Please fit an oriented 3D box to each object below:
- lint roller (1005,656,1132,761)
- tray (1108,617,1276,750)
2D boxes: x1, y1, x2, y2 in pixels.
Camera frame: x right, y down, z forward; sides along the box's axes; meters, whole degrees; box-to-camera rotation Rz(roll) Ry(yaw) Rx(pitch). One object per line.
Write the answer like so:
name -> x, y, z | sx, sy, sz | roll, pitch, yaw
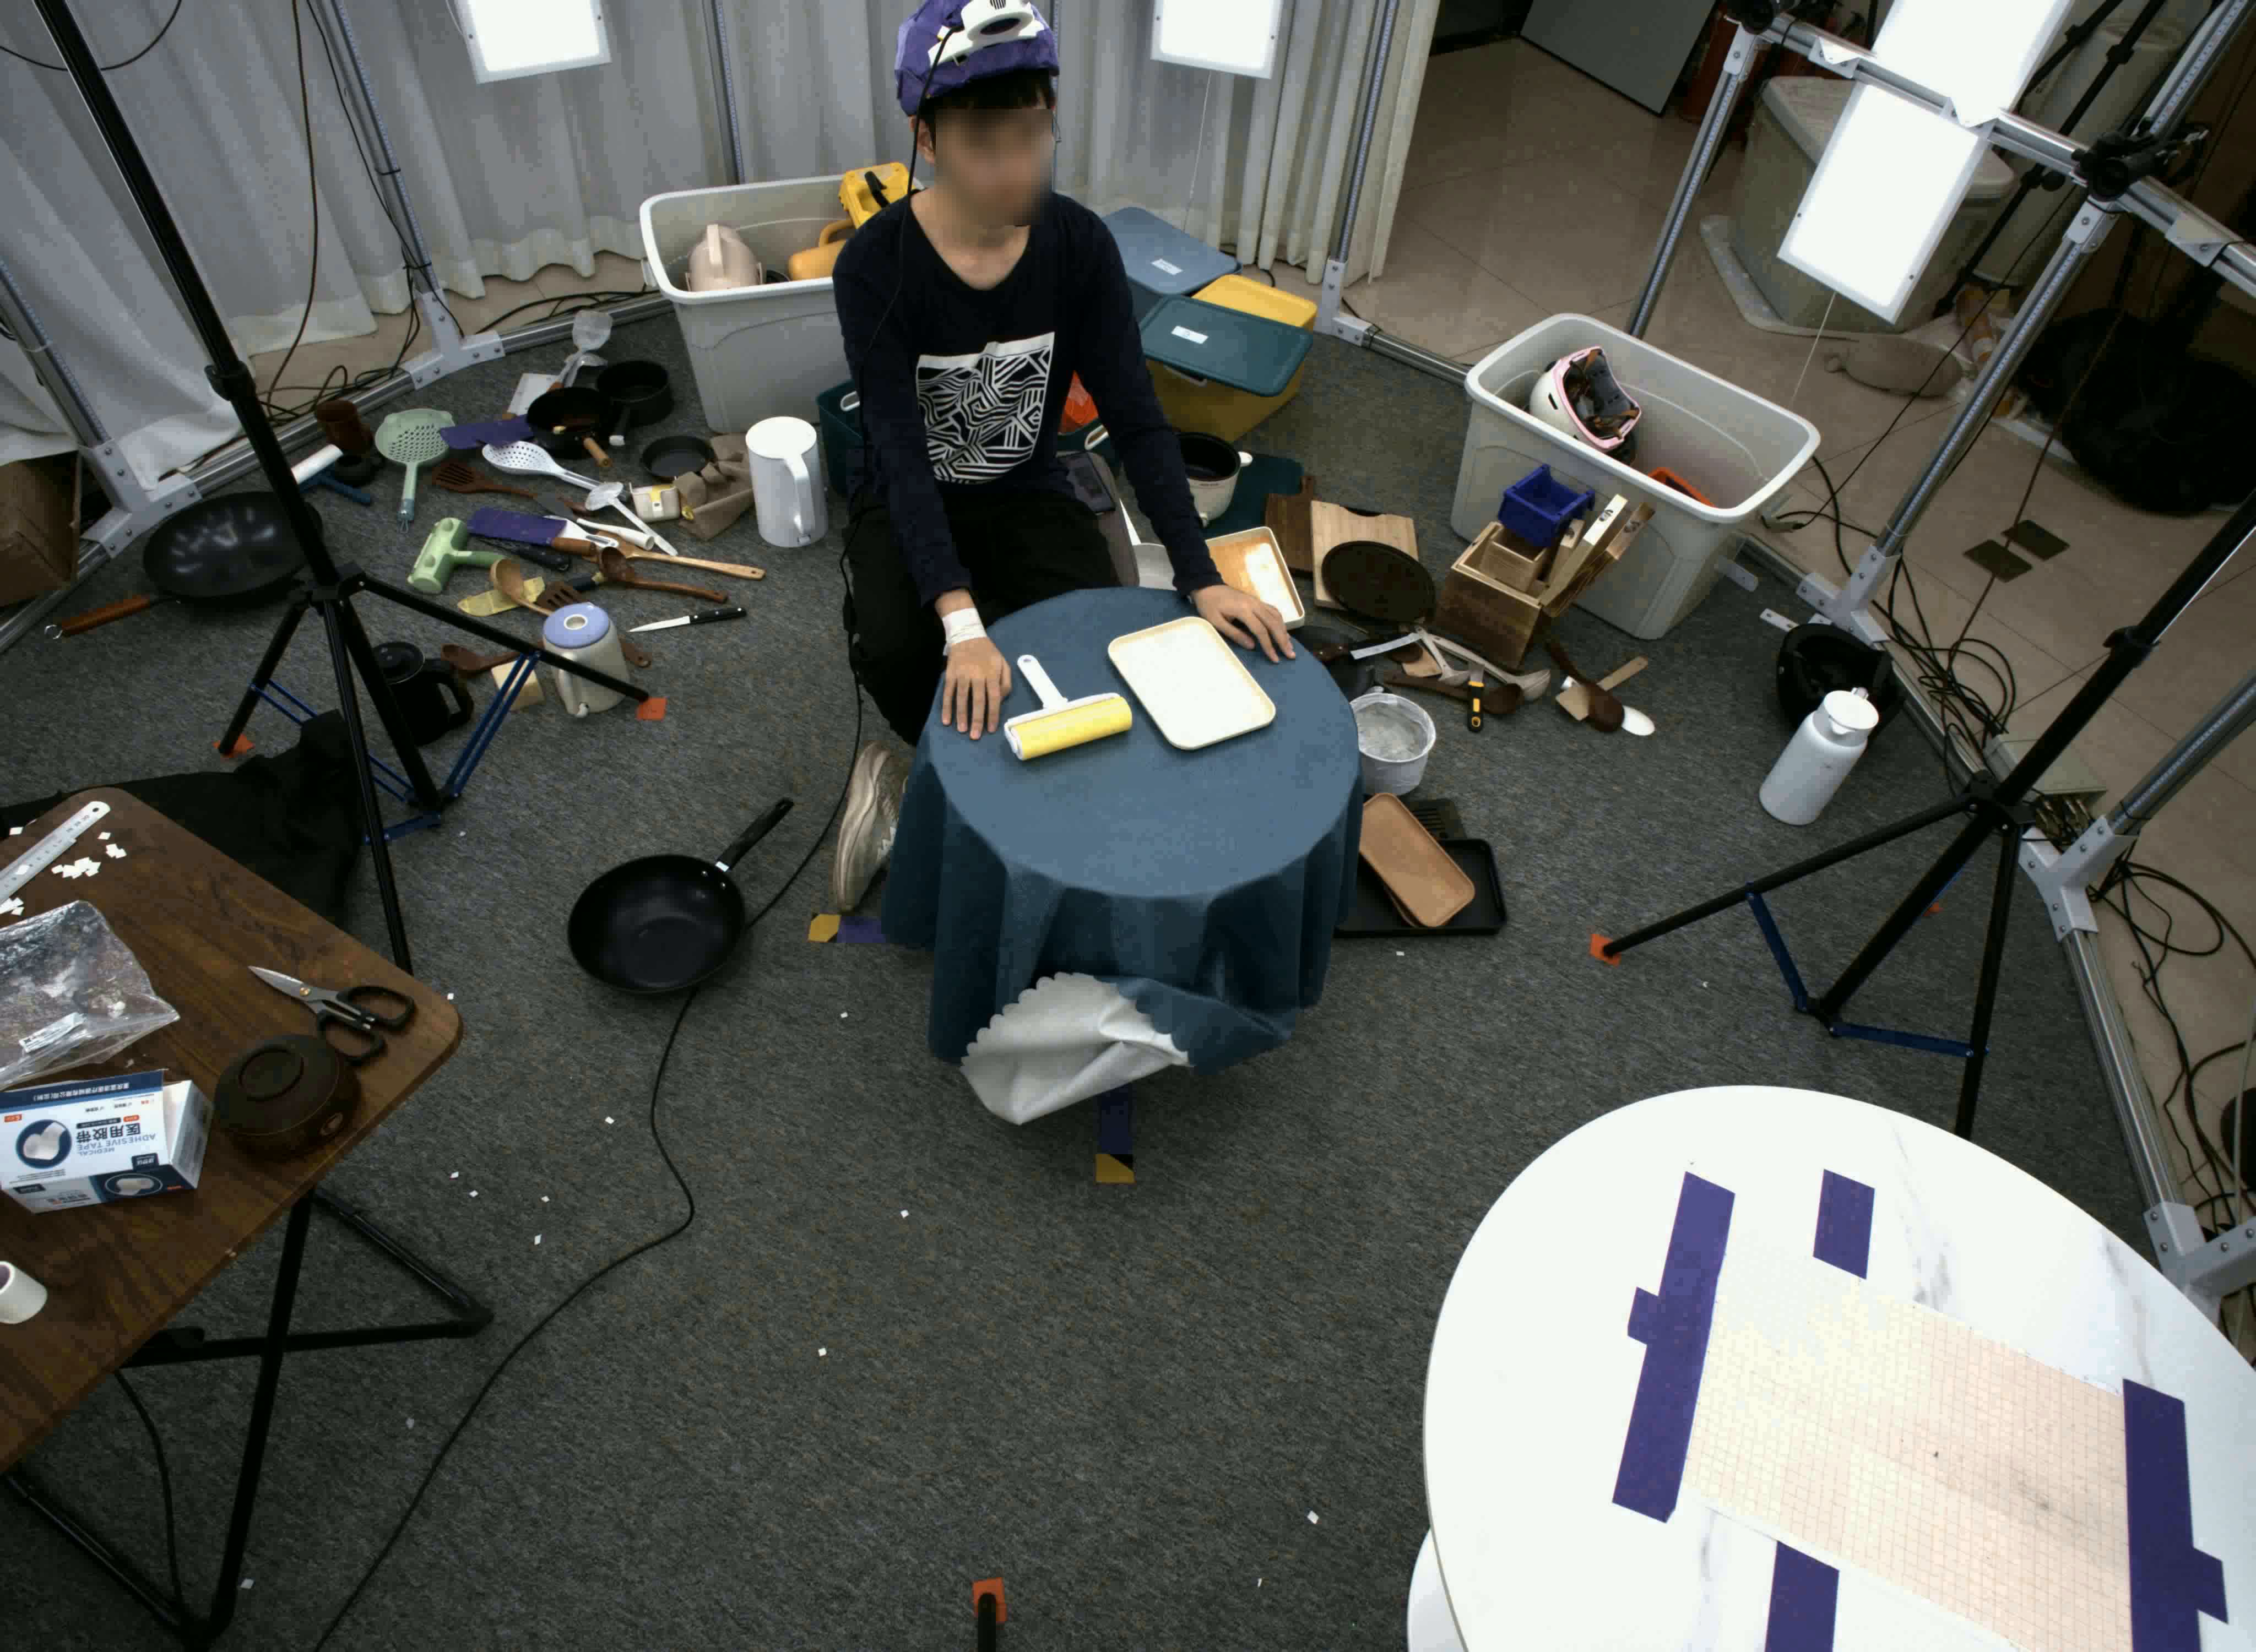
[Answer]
lint roller -> -0.109, -0.184, 1.788 | 0.174, 0.050, 0.196 | -18, 56, -20
tray -> 0.089, -0.206, 1.841 | 0.171, 0.017, 0.245 | -18, 53, -20
